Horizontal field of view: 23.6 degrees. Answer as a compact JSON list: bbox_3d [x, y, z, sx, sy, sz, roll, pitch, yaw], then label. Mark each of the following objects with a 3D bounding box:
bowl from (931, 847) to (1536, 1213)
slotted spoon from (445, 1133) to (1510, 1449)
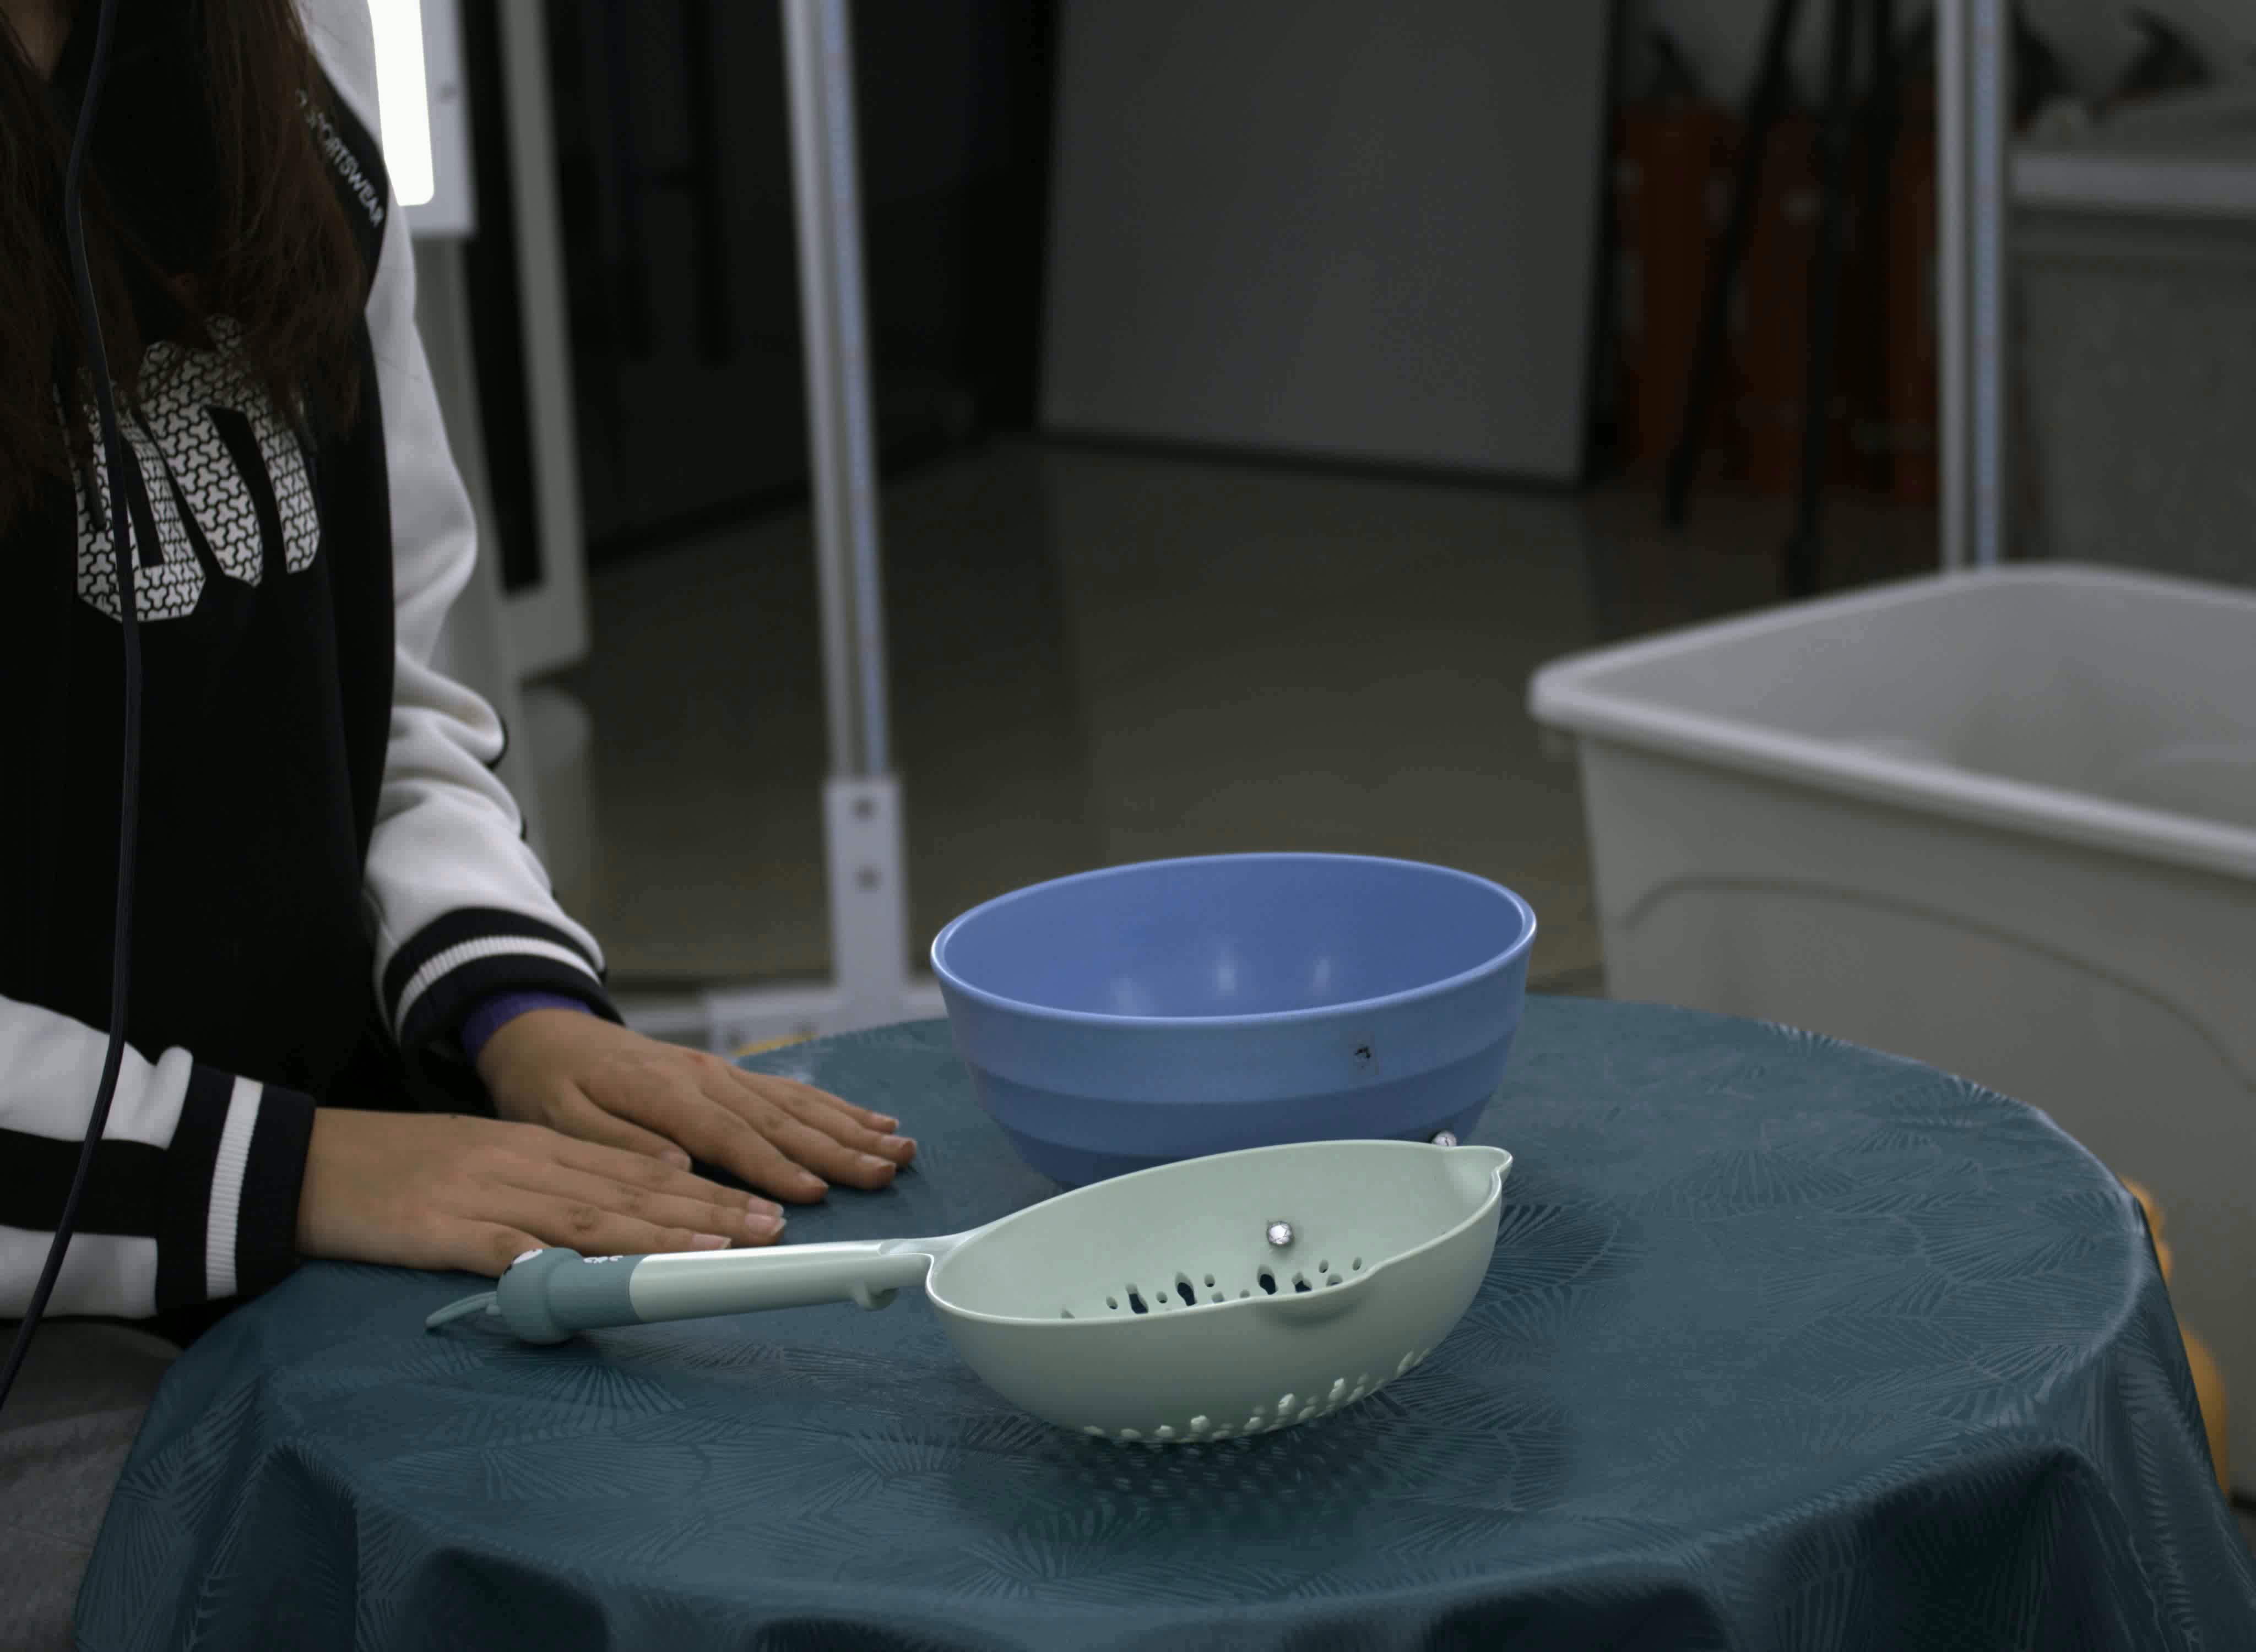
[{"bbox_3d":[0.037,0.078,1.734,0.194,0.096,0.197,-4,14,0],"label":"bowl"},{"bbox_3d":[-0.057,0.138,1.597,0.360,0.076,0.167,1,14,28],"label":"slotted spoon"}]
